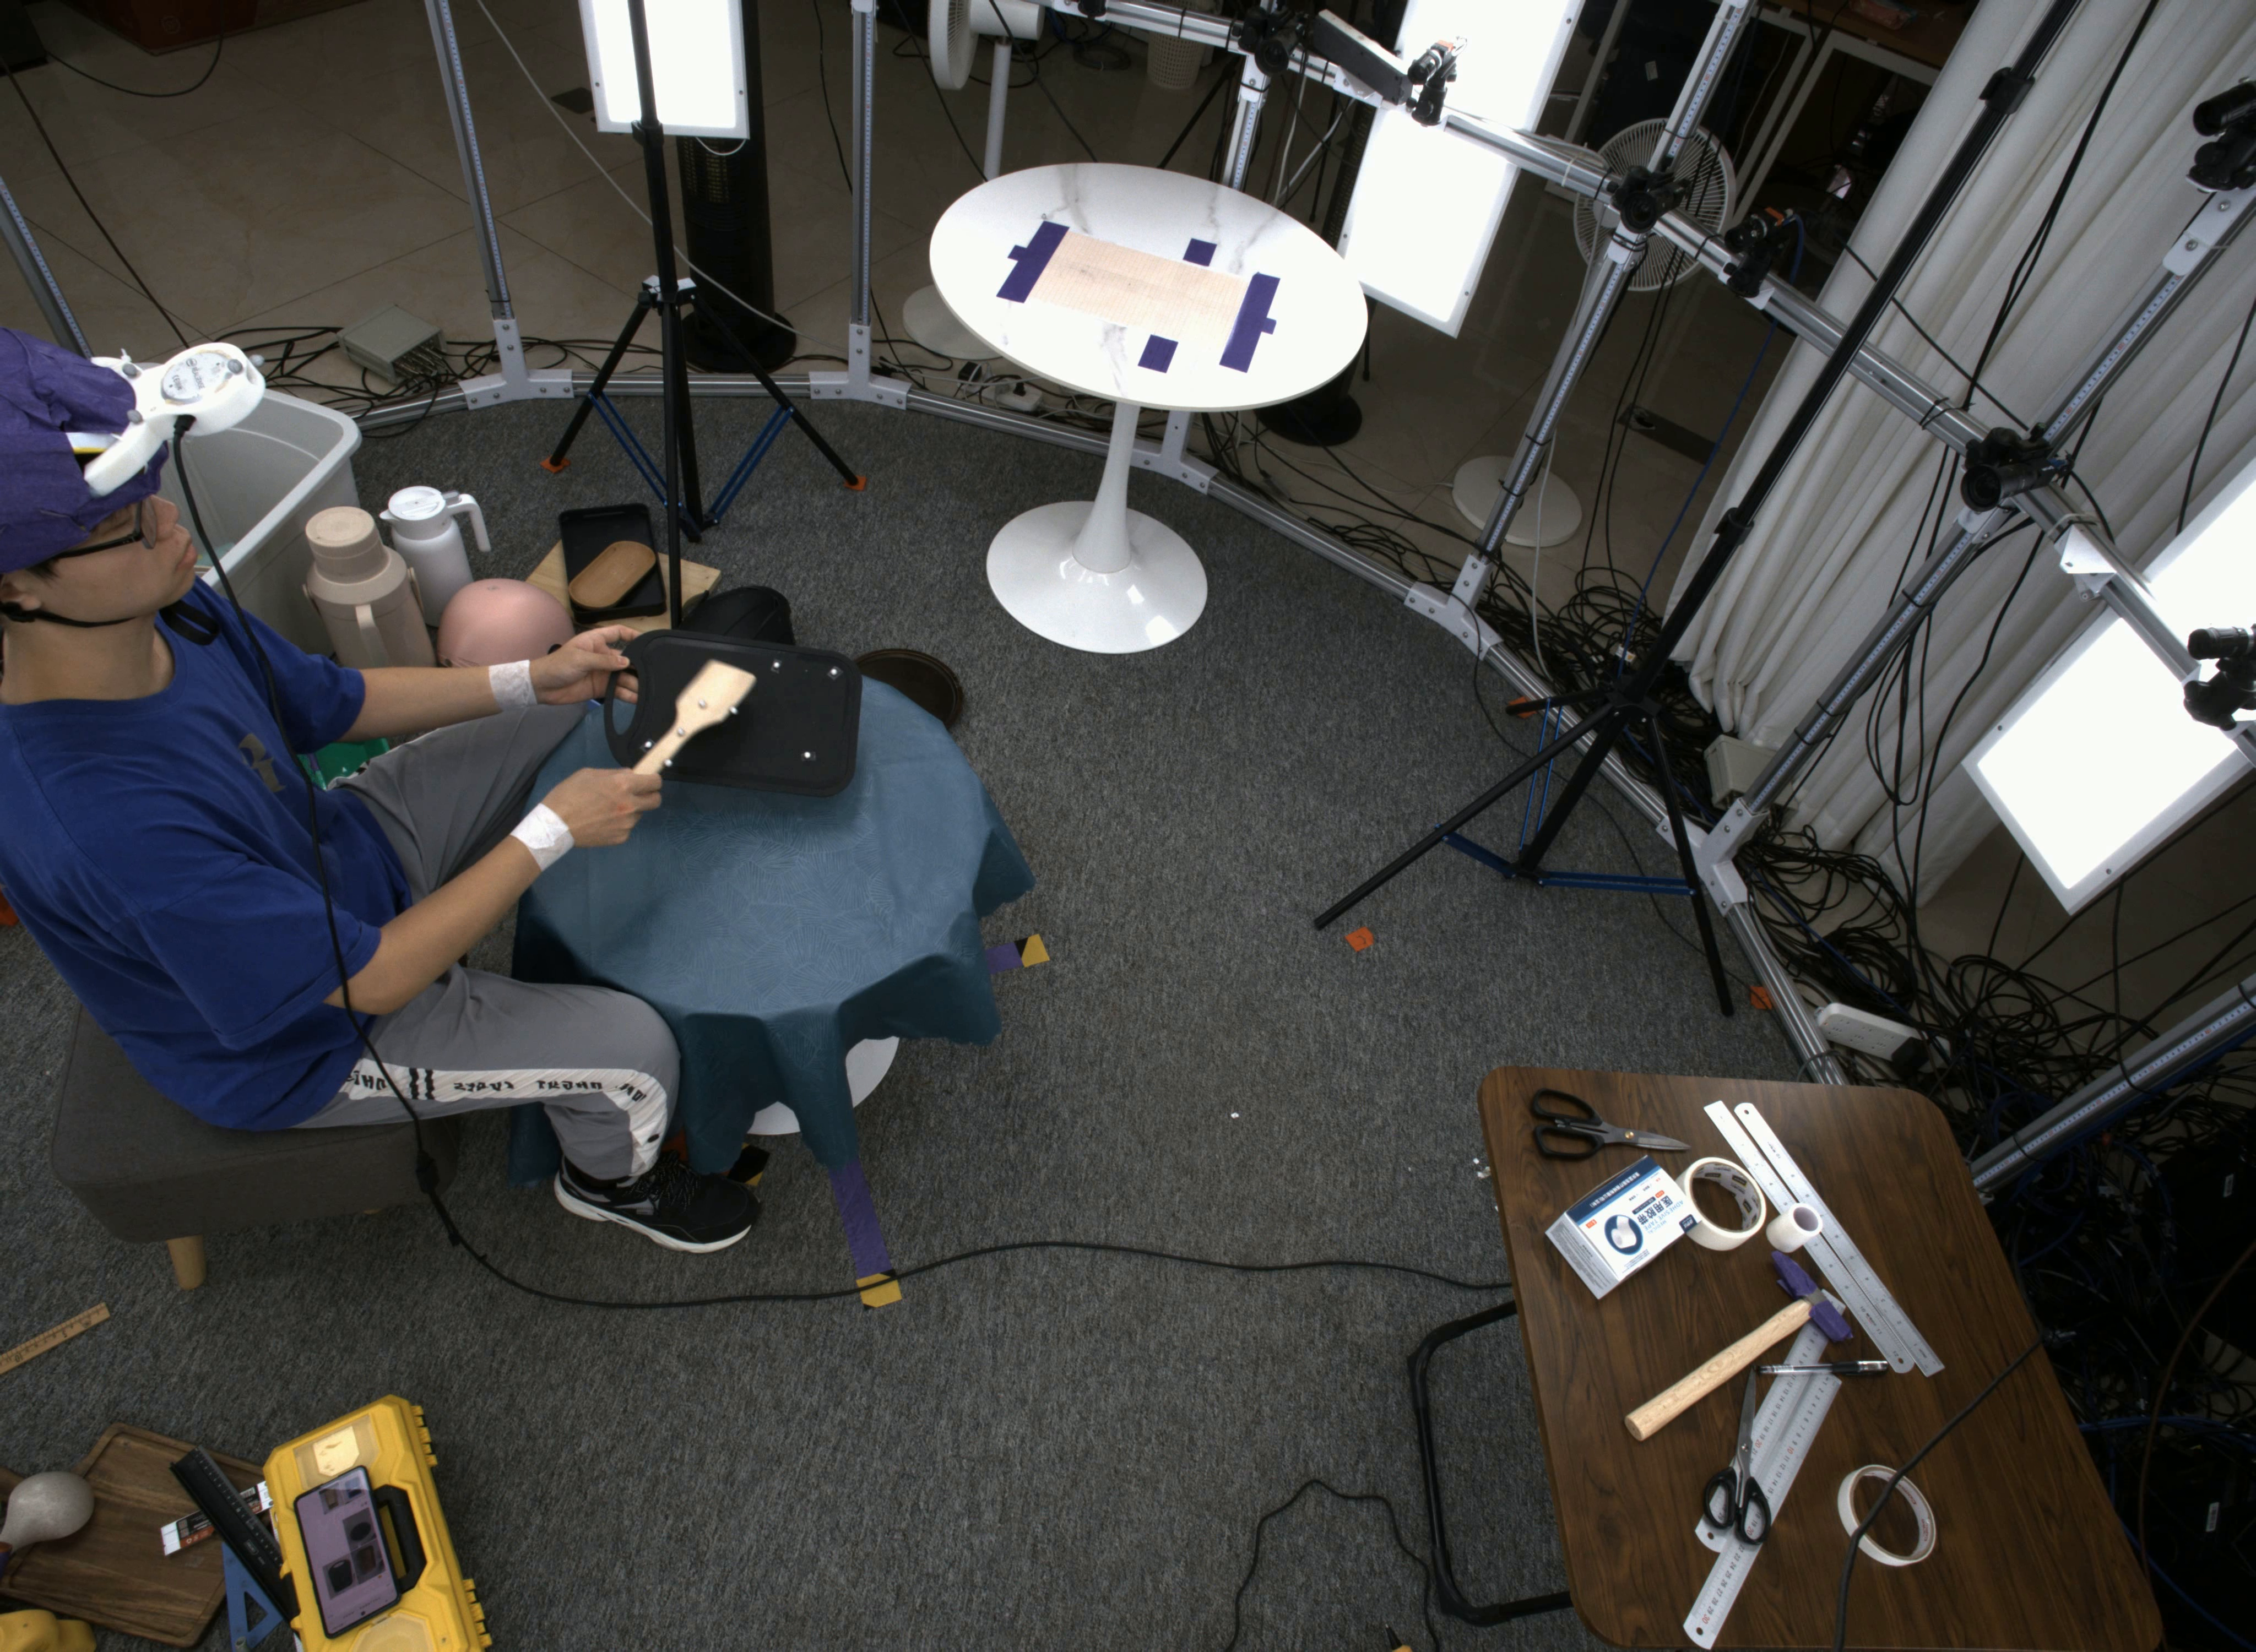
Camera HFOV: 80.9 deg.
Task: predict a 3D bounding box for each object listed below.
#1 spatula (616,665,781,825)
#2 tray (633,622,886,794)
[{"bbox_3d":[-0.537,-0.102,1.597,0.070,0.011,0.291,19,51,15],"label":"spatula"},{"bbox_3d":[-0.487,-0.158,1.700,0.327,0.010,0.210,8,72,-17],"label":"tray"}]
